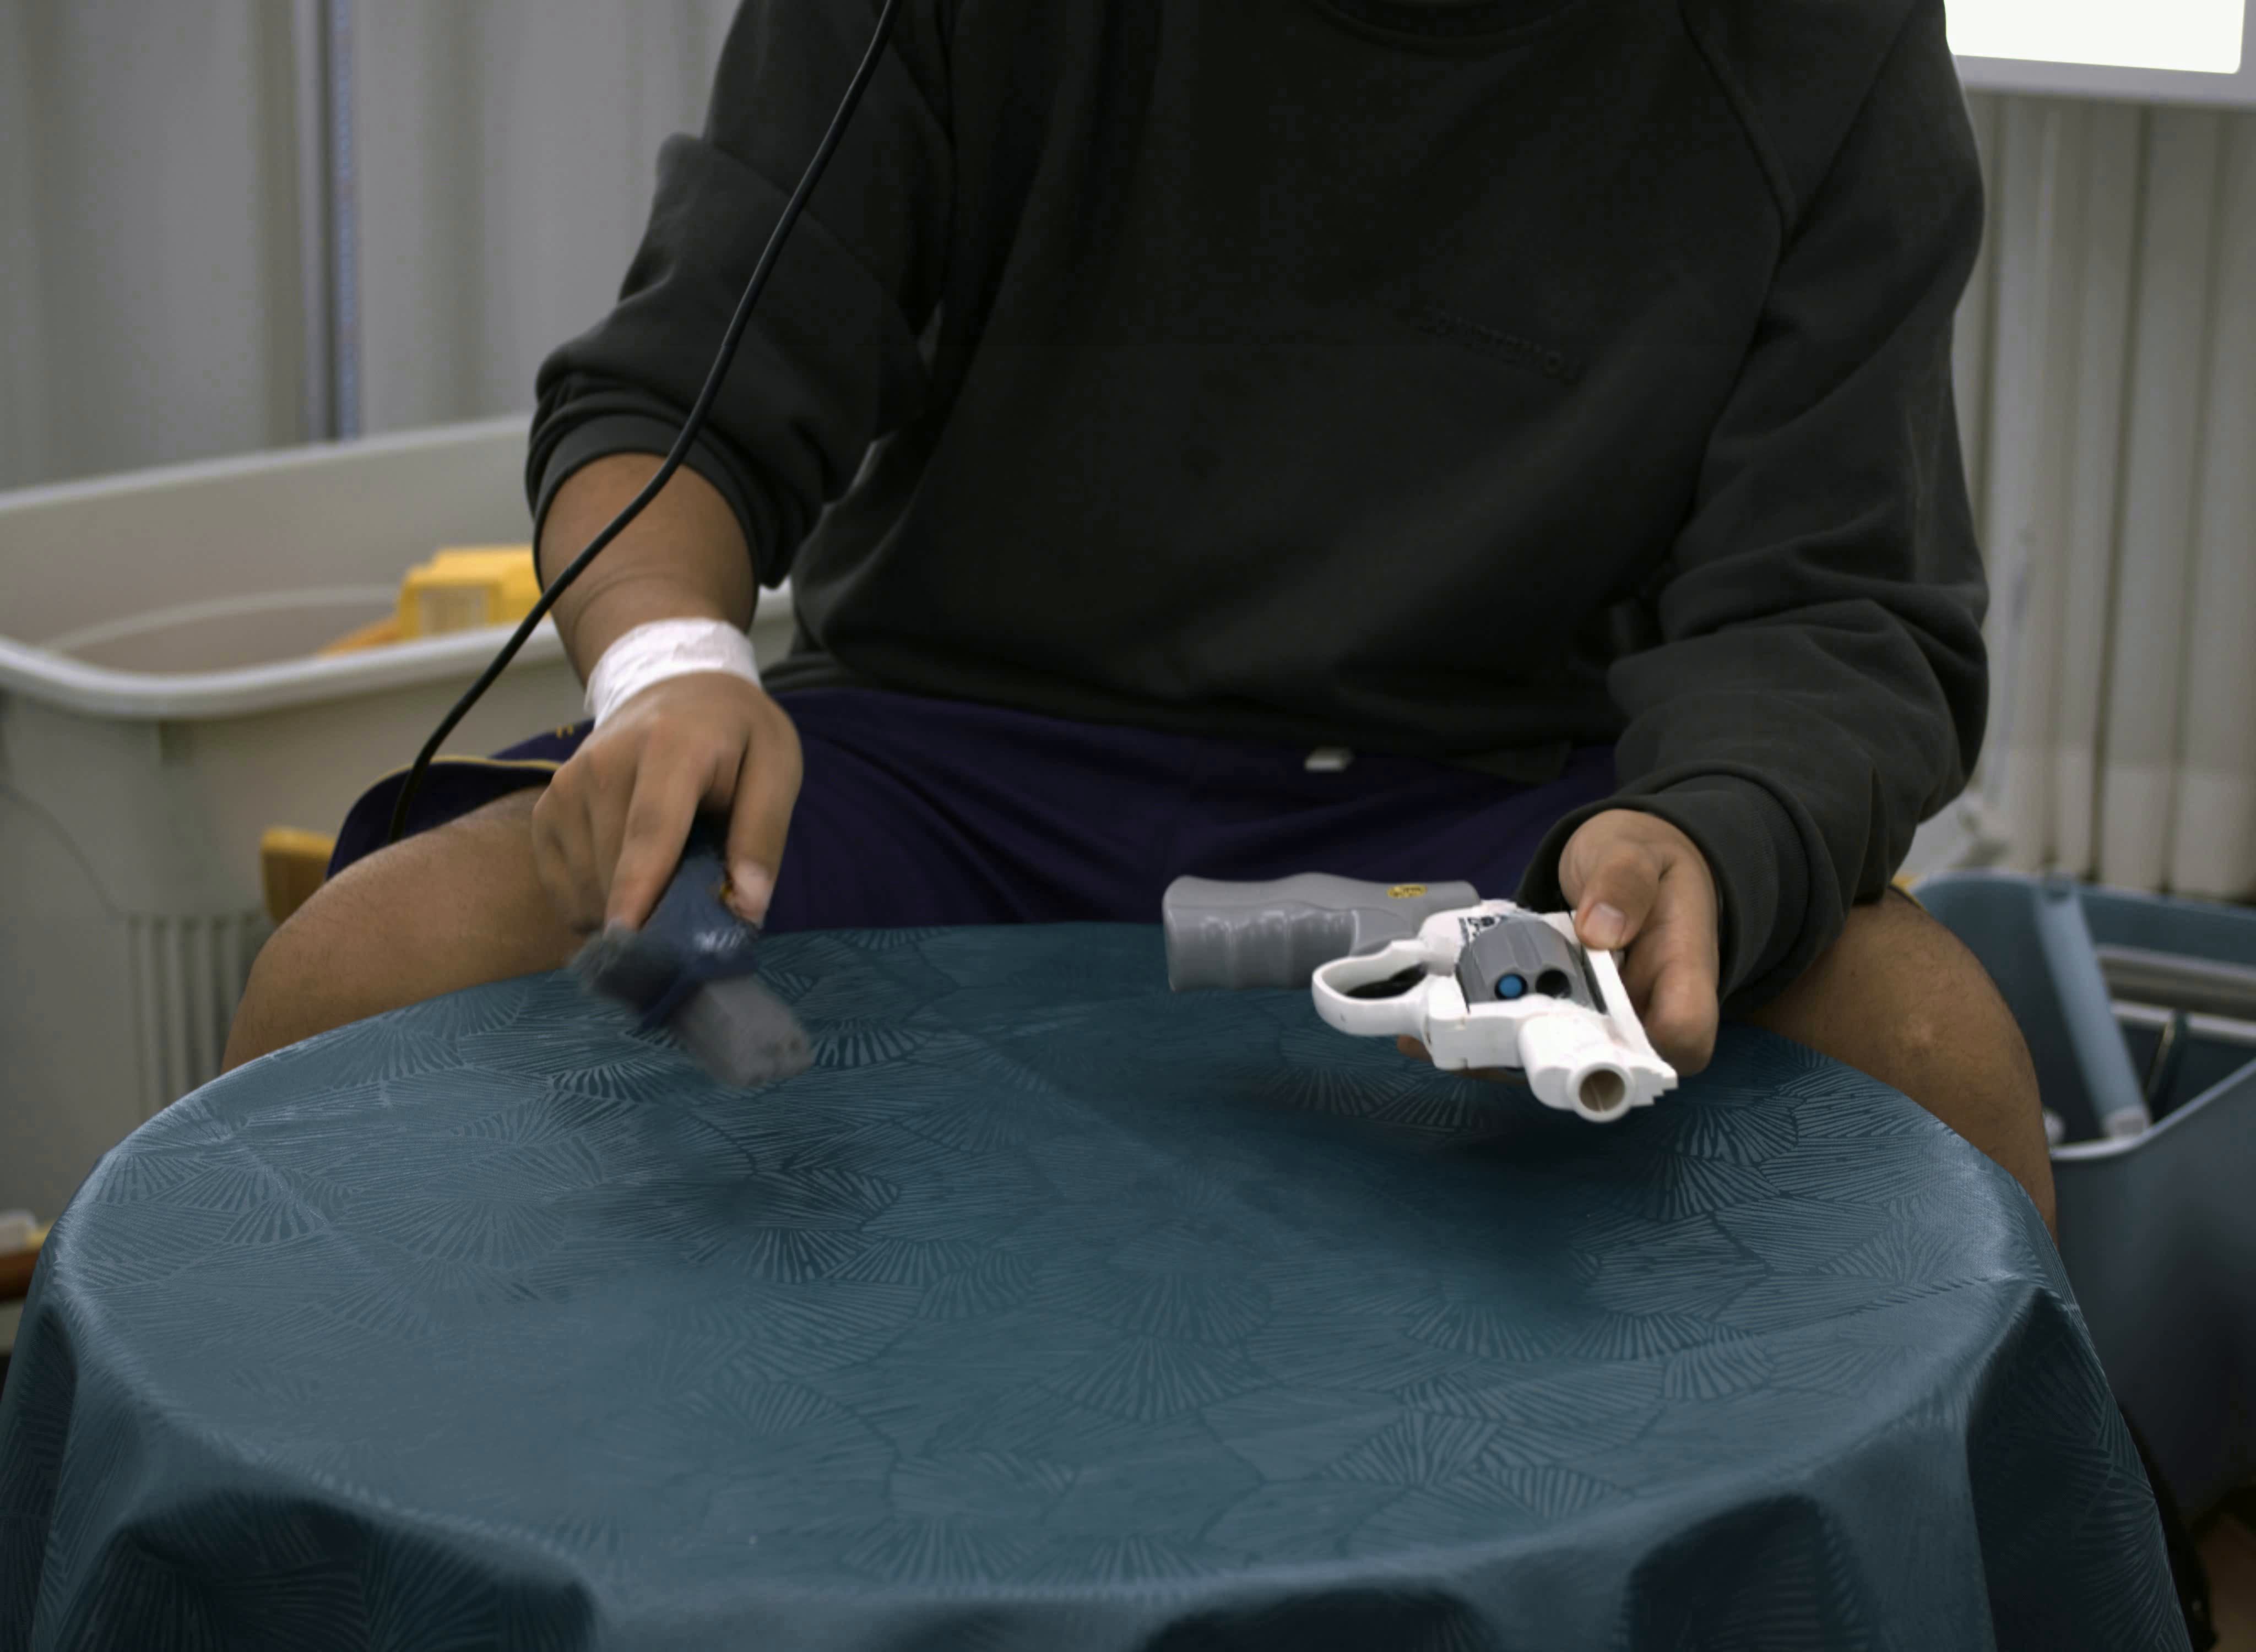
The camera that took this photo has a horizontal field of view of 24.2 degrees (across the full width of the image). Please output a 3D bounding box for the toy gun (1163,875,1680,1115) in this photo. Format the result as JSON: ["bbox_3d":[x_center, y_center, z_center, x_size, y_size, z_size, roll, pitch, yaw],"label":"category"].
[{"bbox_3d":[0.087,0.050,1.626,0.141,0.039,0.207,-7,17,-2],"label":"toy gun"}]

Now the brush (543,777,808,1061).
[{"bbox_3d":[-0.143,0.017,1.683,0.096,0.033,0.271,37,9,-16],"label":"brush"}]
